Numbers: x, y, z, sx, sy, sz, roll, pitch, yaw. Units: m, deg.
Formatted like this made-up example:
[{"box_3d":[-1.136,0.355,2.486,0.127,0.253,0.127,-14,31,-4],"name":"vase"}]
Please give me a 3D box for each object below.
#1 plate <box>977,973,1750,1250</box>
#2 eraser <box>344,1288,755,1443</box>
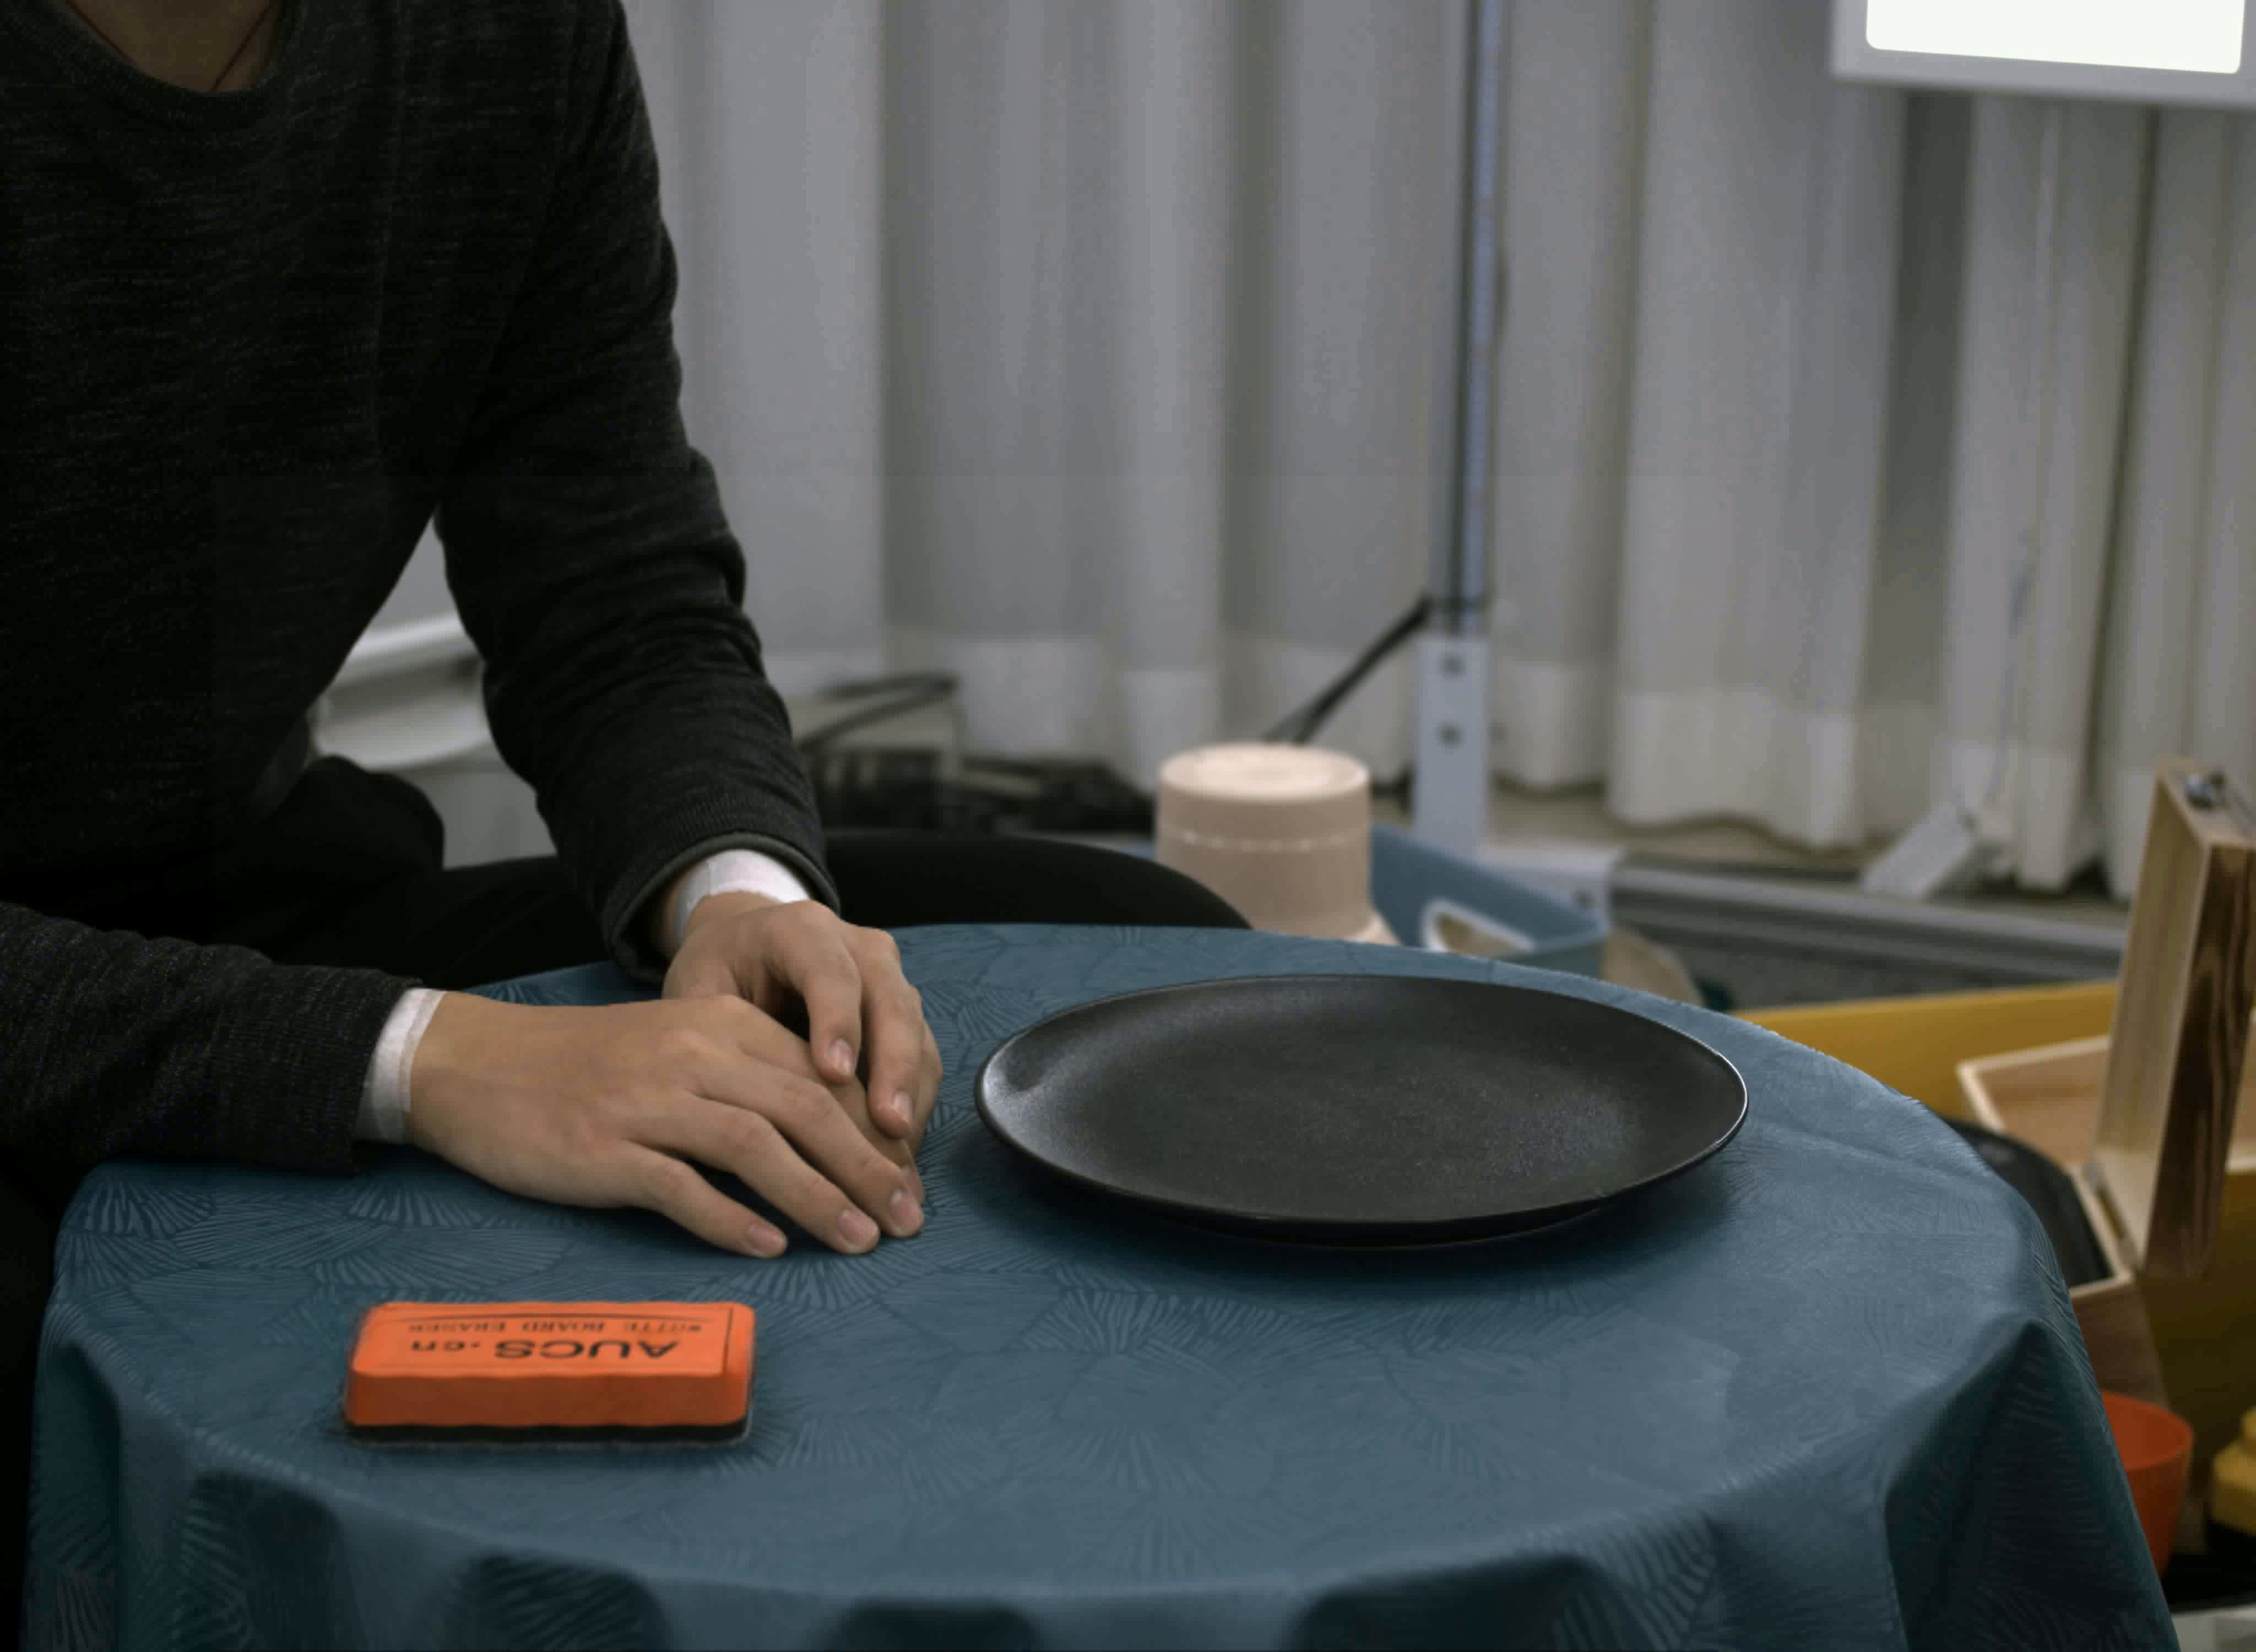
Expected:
[{"box_3d":[0.074,0.091,1.655,0.243,0.023,0.243,0,16,0],"name":"plate"},{"box_3d":[-0.157,0.147,1.435,0.108,0.023,0.058,-2,14,-1],"name":"eraser"}]
